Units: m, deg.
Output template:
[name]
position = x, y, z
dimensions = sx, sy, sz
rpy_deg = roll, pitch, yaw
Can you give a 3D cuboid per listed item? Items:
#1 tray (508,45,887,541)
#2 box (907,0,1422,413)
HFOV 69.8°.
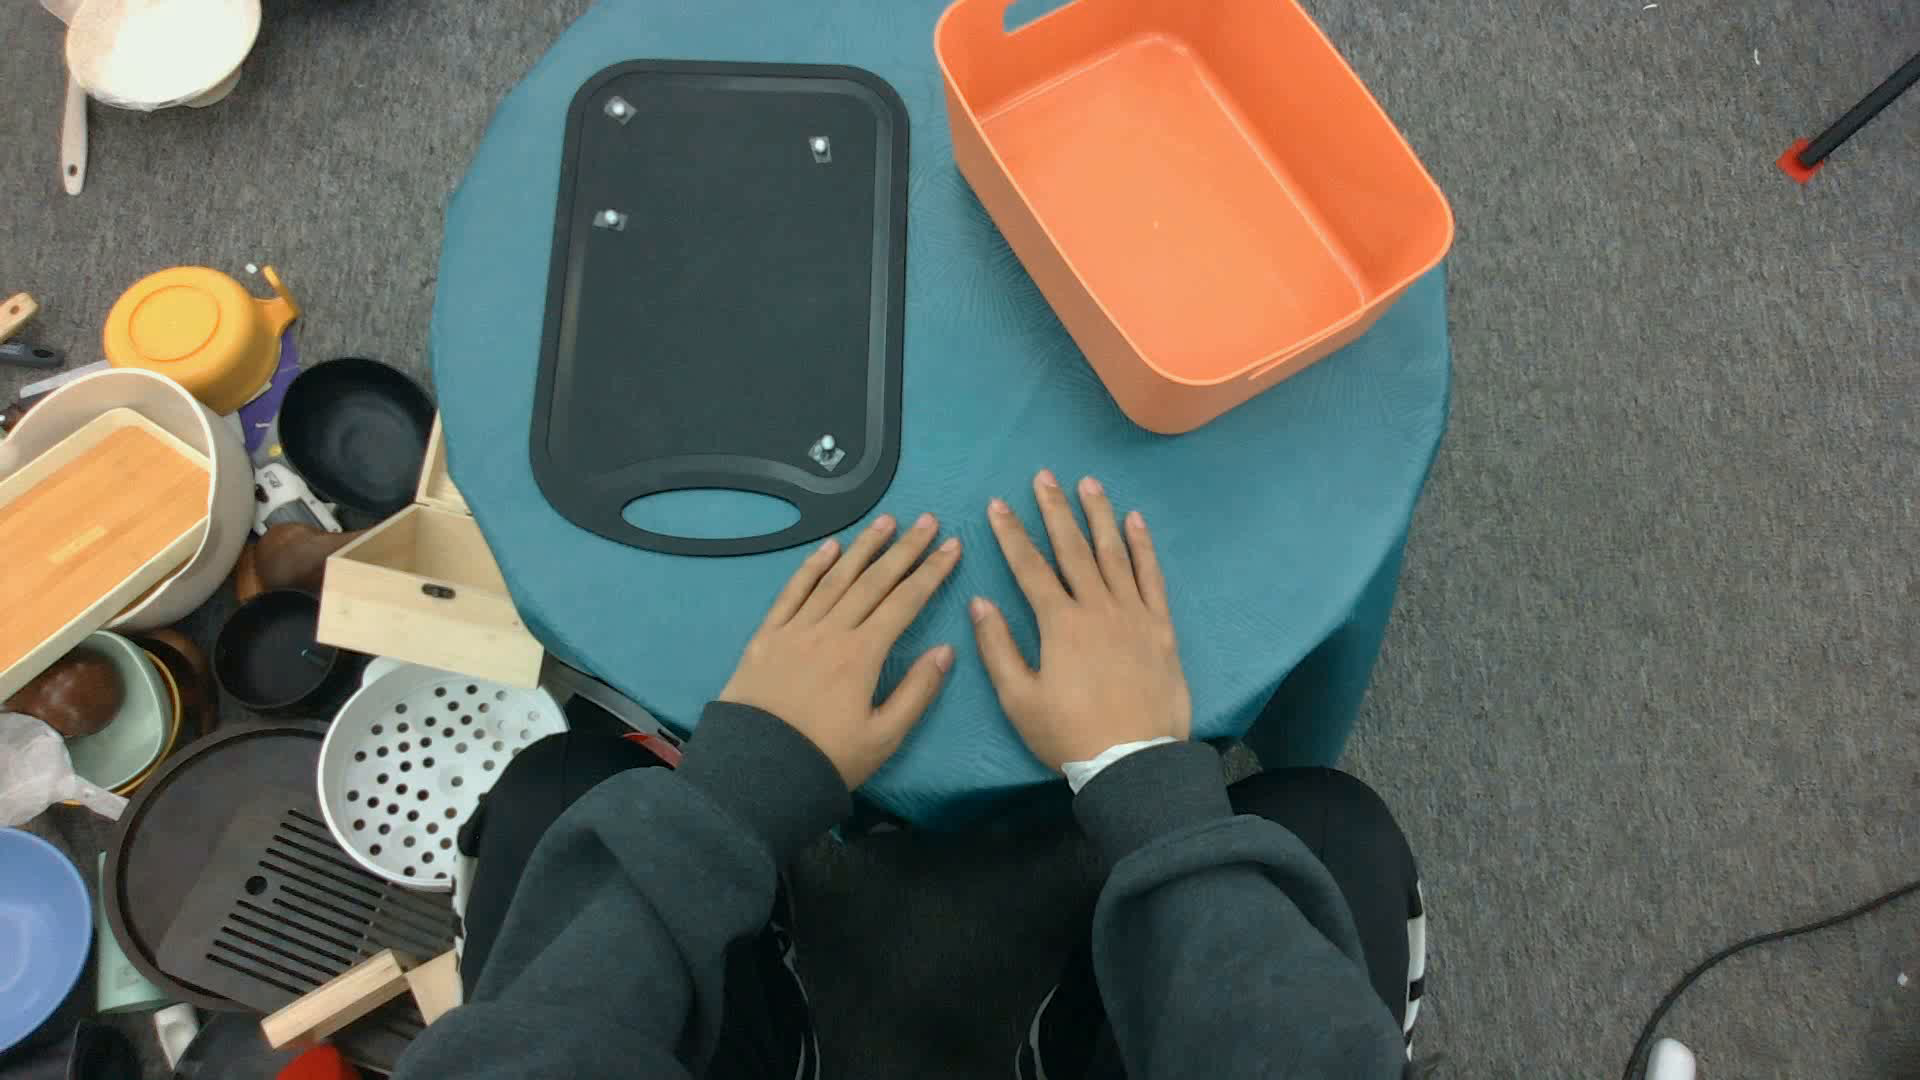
[tray]
position = -0.150, -0.155, 0.808
dimensions = 0.211, 0.010, 0.326
rpy_deg = 0, 72, -2
[box]
position = 0.106, -0.215, 0.786
dimensions = 0.200, 0.102, 0.273
rpy_deg = -30, 75, -11
